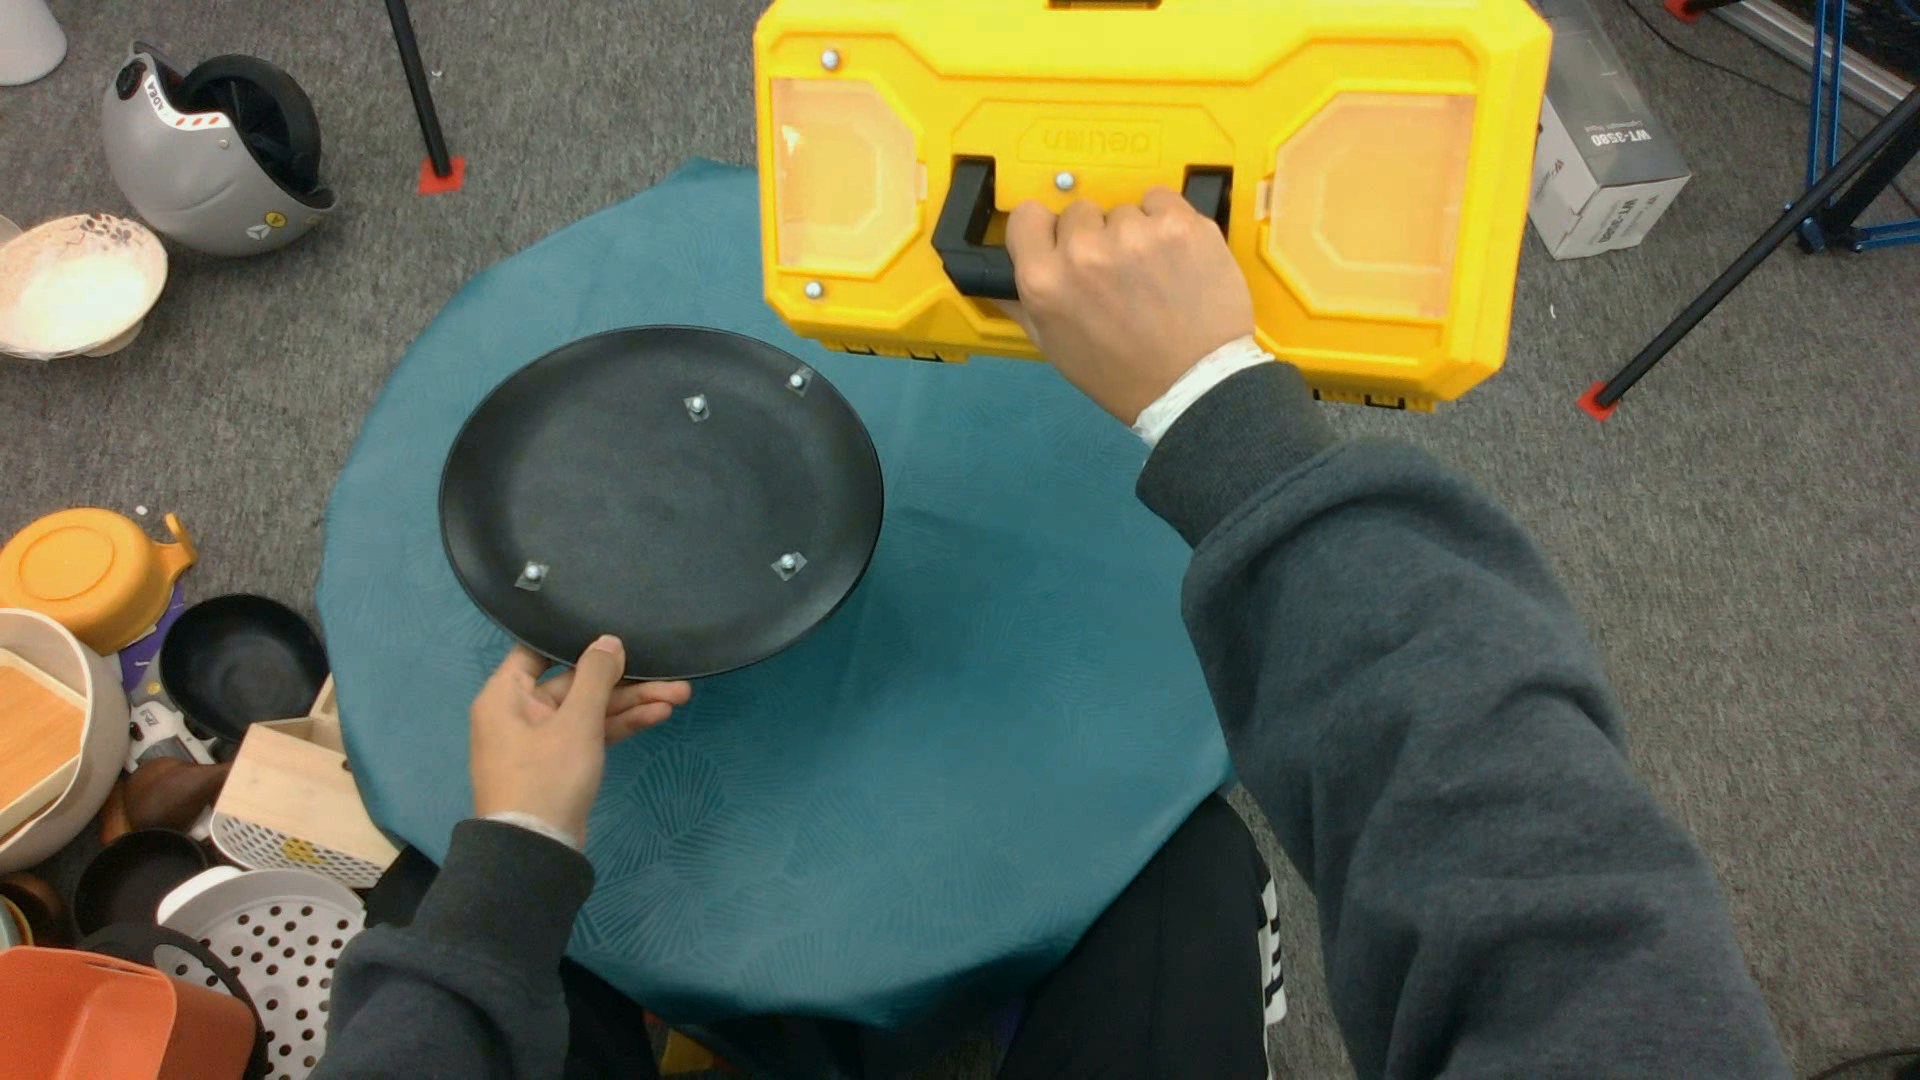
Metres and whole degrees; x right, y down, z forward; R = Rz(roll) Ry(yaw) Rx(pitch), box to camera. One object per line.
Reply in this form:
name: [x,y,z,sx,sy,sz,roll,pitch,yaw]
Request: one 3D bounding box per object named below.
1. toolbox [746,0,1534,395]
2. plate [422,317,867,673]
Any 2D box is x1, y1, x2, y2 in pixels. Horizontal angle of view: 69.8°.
toolbox: [0.081,-0.181,0.665,0.351,0.181,0.173,9,21,20]
plate: [-0.174,-0.029,0.781,0.244,0.023,0.245,5,56,-7]
